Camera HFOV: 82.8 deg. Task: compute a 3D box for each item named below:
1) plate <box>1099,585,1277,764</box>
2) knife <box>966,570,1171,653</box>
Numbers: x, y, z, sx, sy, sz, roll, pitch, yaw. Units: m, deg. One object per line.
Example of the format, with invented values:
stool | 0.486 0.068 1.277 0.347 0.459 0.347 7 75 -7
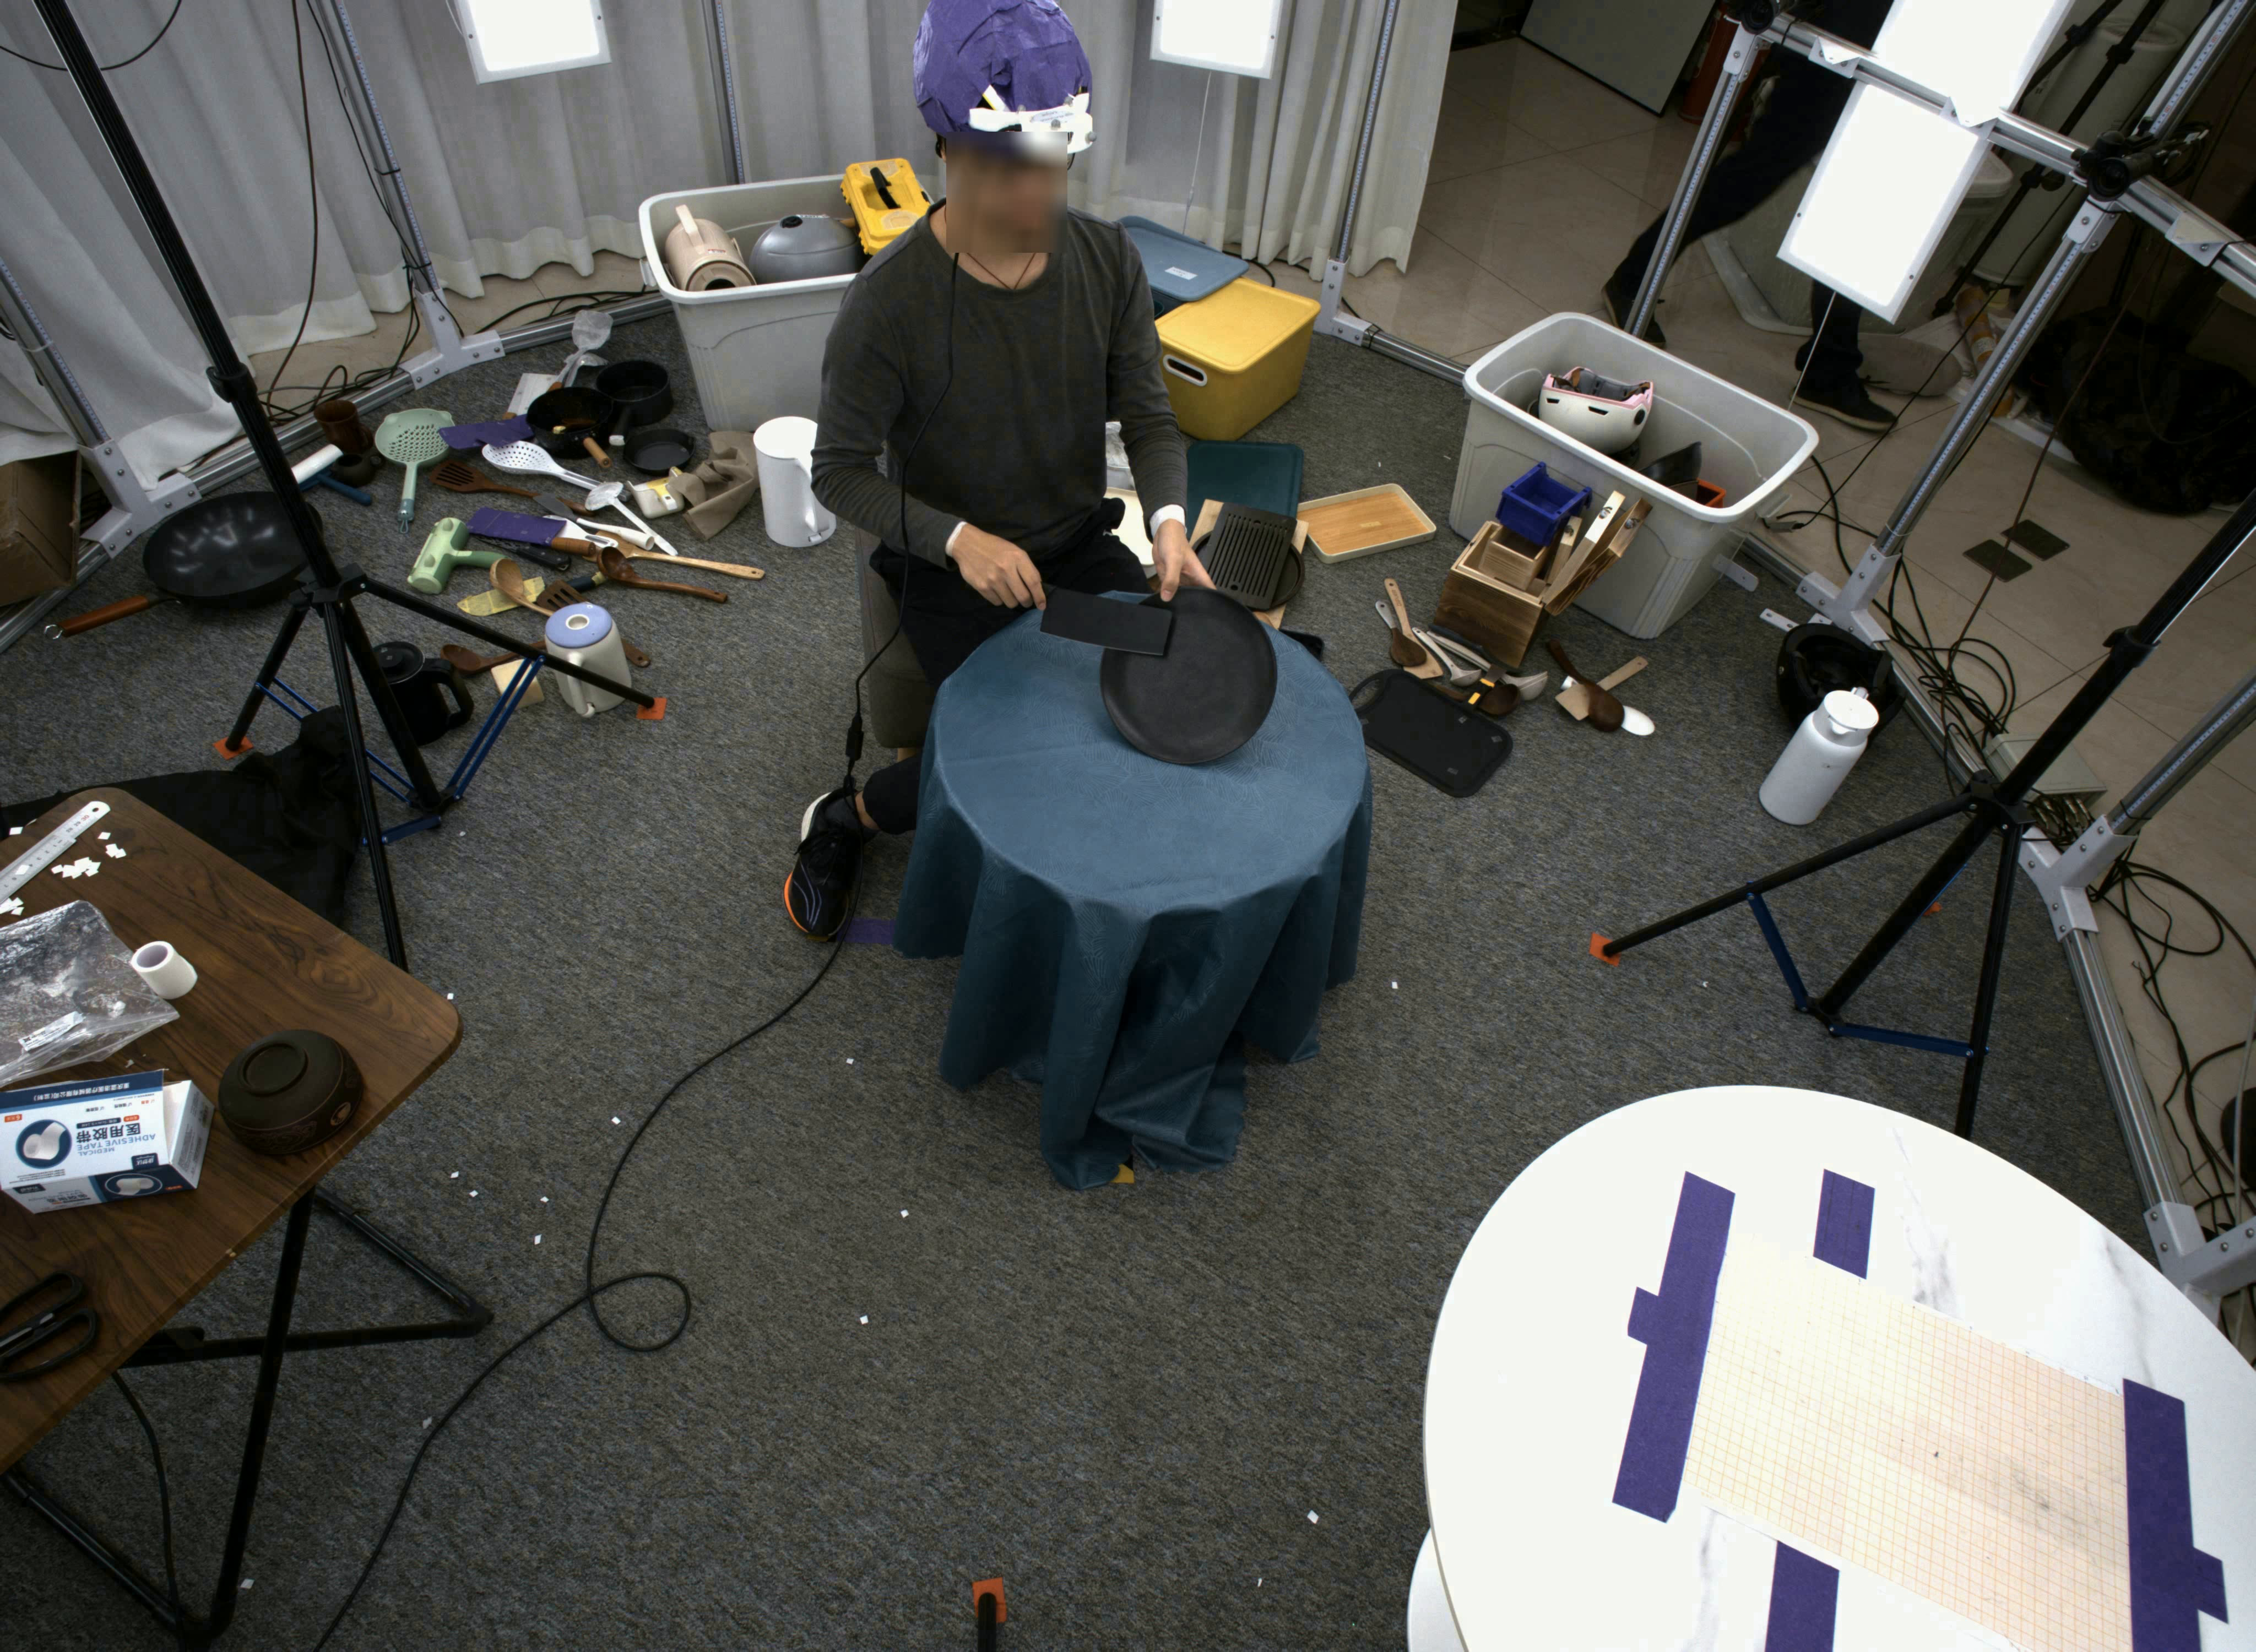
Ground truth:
plate | 0.082 -0.206 1.754 0.244 0.023 0.245 0 88 9
knife | -0.086 -0.300 1.780 0.304 0.021 0.081 19 94 16
